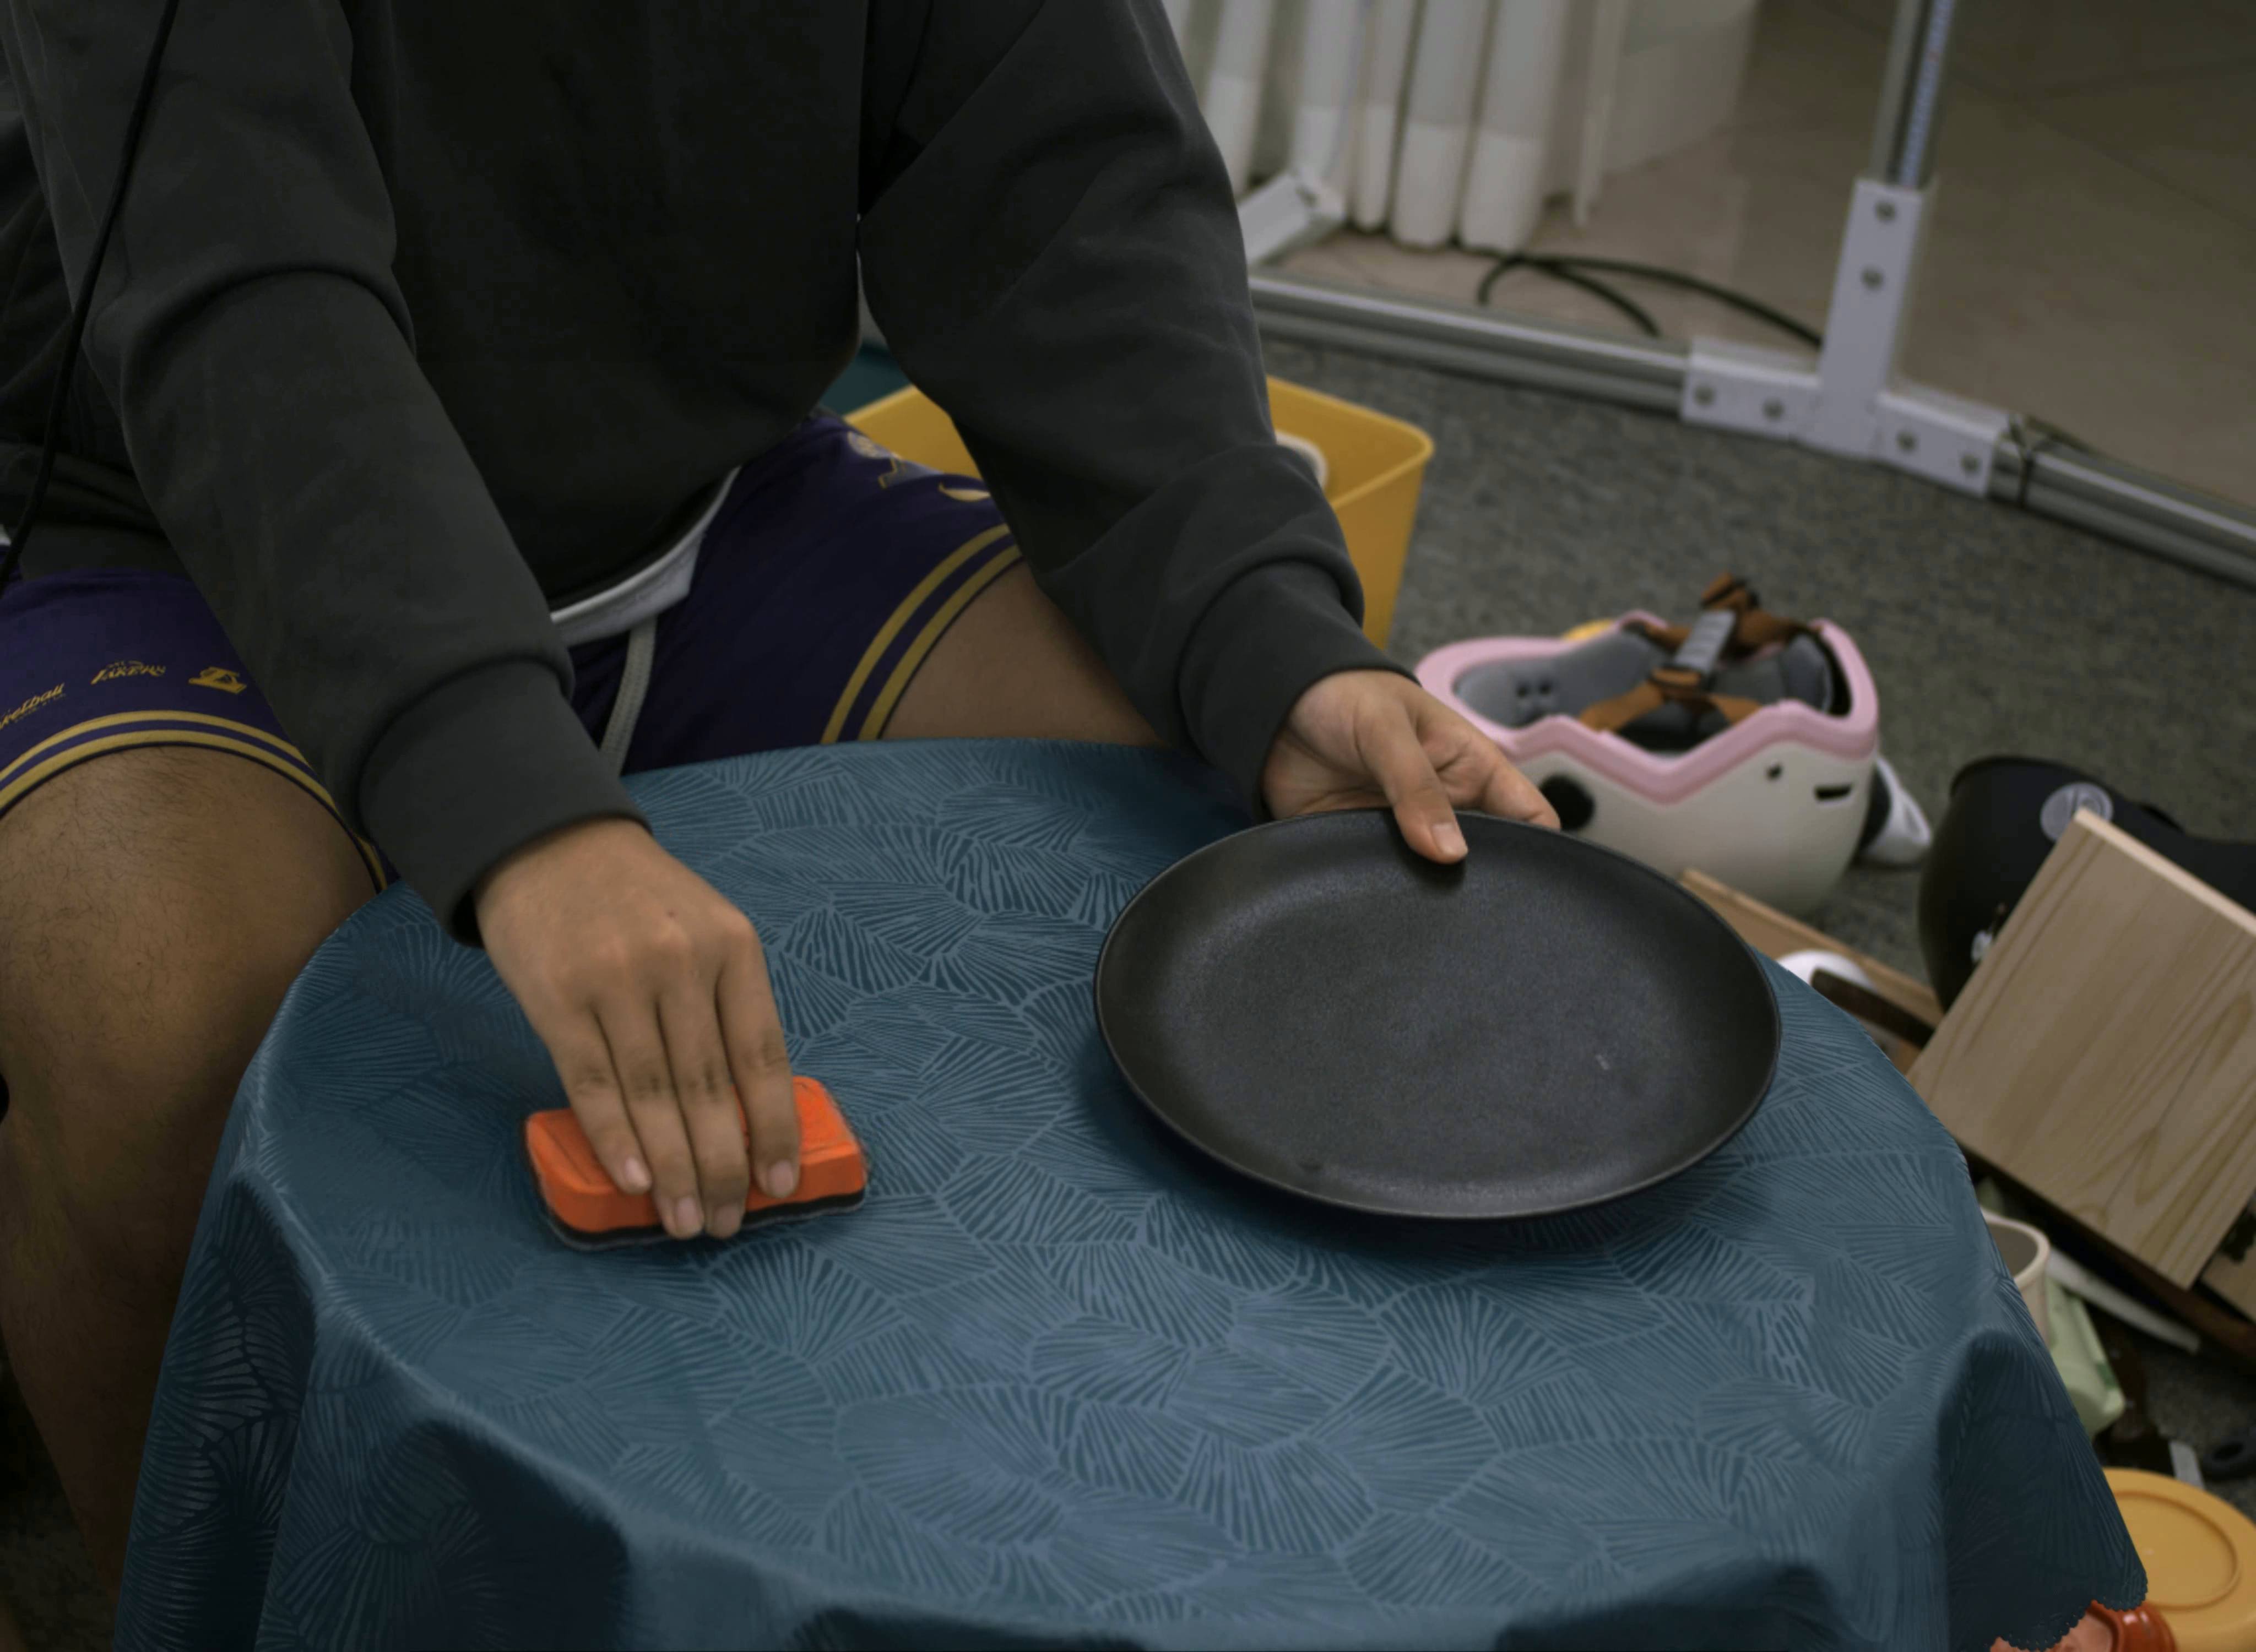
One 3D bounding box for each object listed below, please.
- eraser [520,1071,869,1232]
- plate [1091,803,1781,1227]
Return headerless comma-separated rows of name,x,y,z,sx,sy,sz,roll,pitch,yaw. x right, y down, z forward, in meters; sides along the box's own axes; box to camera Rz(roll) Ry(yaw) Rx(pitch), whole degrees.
eraser,-0.143,0.107,1.765,0.107,0.023,0.059,-4,27,-27
plate,0.108,0.069,1.874,0.243,0.023,0.246,1,35,-1
